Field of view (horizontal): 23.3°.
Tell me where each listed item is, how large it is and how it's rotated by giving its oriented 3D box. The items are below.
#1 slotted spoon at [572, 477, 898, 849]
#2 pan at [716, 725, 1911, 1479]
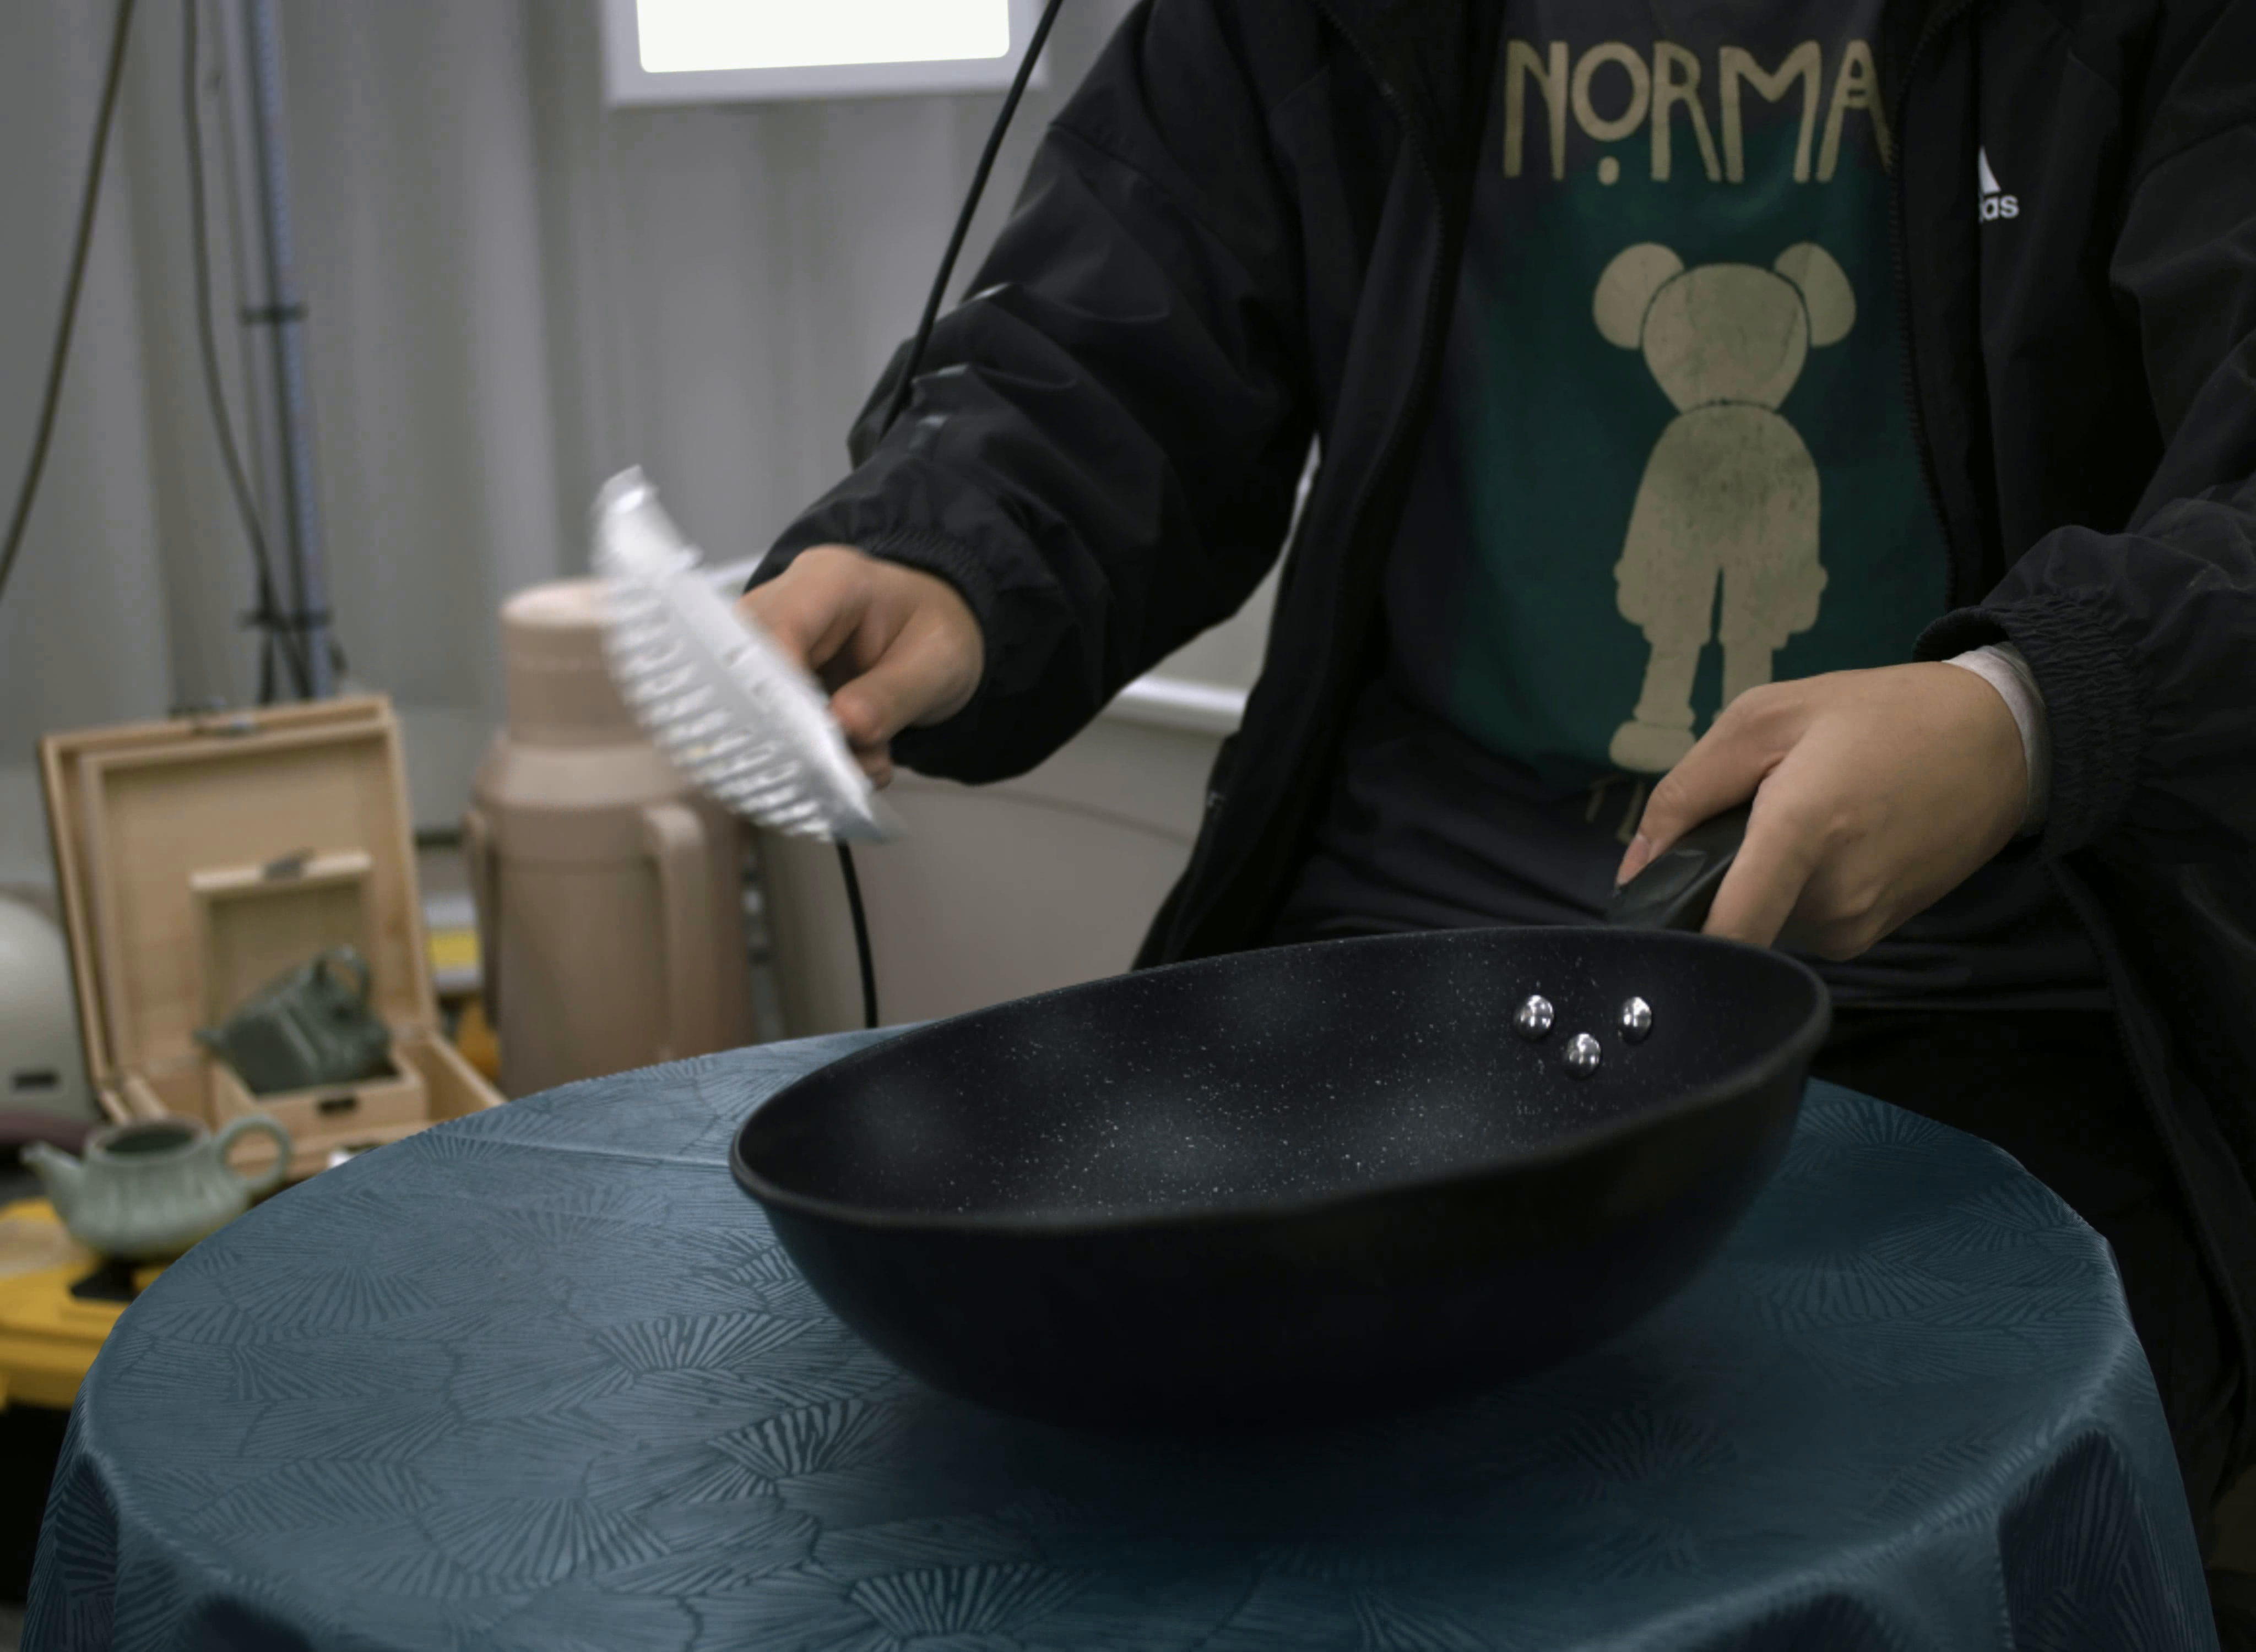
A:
[{"bbox_3d":[-0.115,-0.031,1.684,0.050,0.137,0.347,-41,-5,3],"label":"slotted spoon"},{"bbox_3d":[0.095,0.080,1.571,0.311,0.111,0.476,3,16,40],"label":"pan"}]
